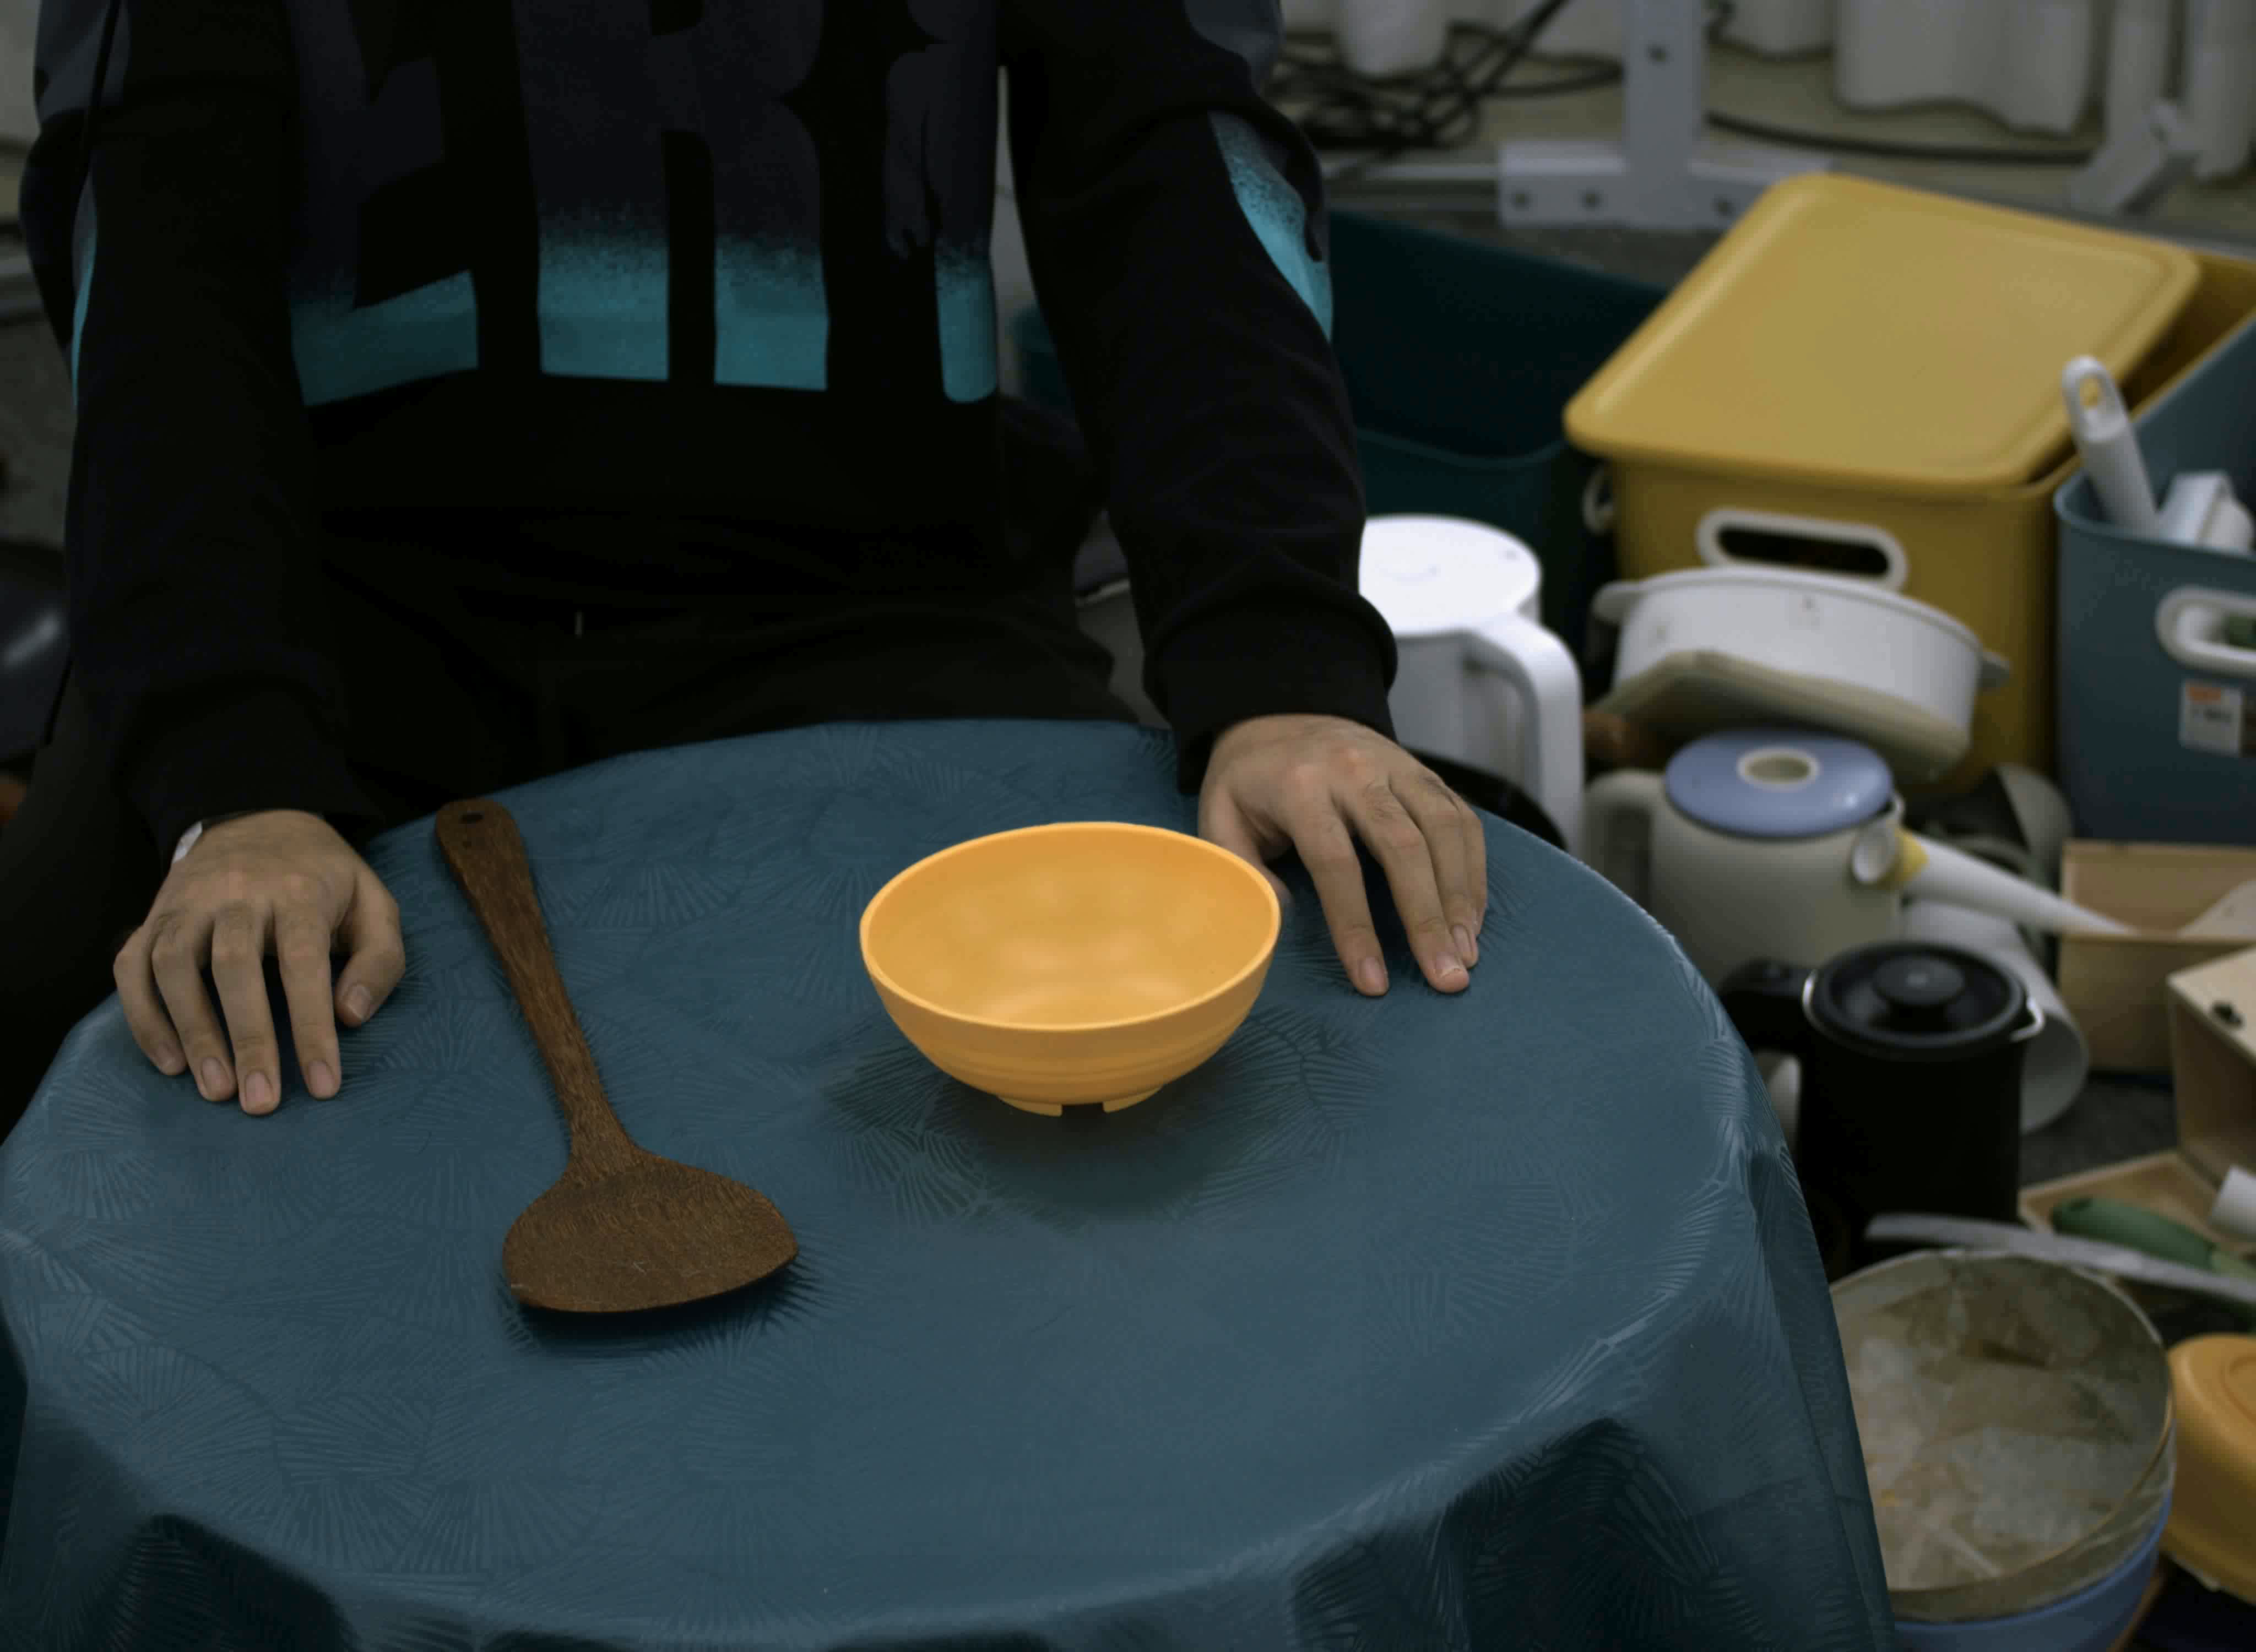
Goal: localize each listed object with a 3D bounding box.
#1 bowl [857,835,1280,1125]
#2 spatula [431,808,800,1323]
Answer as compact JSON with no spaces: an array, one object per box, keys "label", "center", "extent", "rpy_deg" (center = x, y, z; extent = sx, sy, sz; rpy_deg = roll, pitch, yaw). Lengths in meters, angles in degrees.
[{"label":"bowl","center":[-0.020,0.061,1.922],"extent":[0.144,0.059,0.147],"rpy_deg":[0,25,0]},{"label":"spatula","center":[-0.198,0.075,1.957],"extent":[0.096,0.015,0.390],"rpy_deg":[-9,28,-13]}]
